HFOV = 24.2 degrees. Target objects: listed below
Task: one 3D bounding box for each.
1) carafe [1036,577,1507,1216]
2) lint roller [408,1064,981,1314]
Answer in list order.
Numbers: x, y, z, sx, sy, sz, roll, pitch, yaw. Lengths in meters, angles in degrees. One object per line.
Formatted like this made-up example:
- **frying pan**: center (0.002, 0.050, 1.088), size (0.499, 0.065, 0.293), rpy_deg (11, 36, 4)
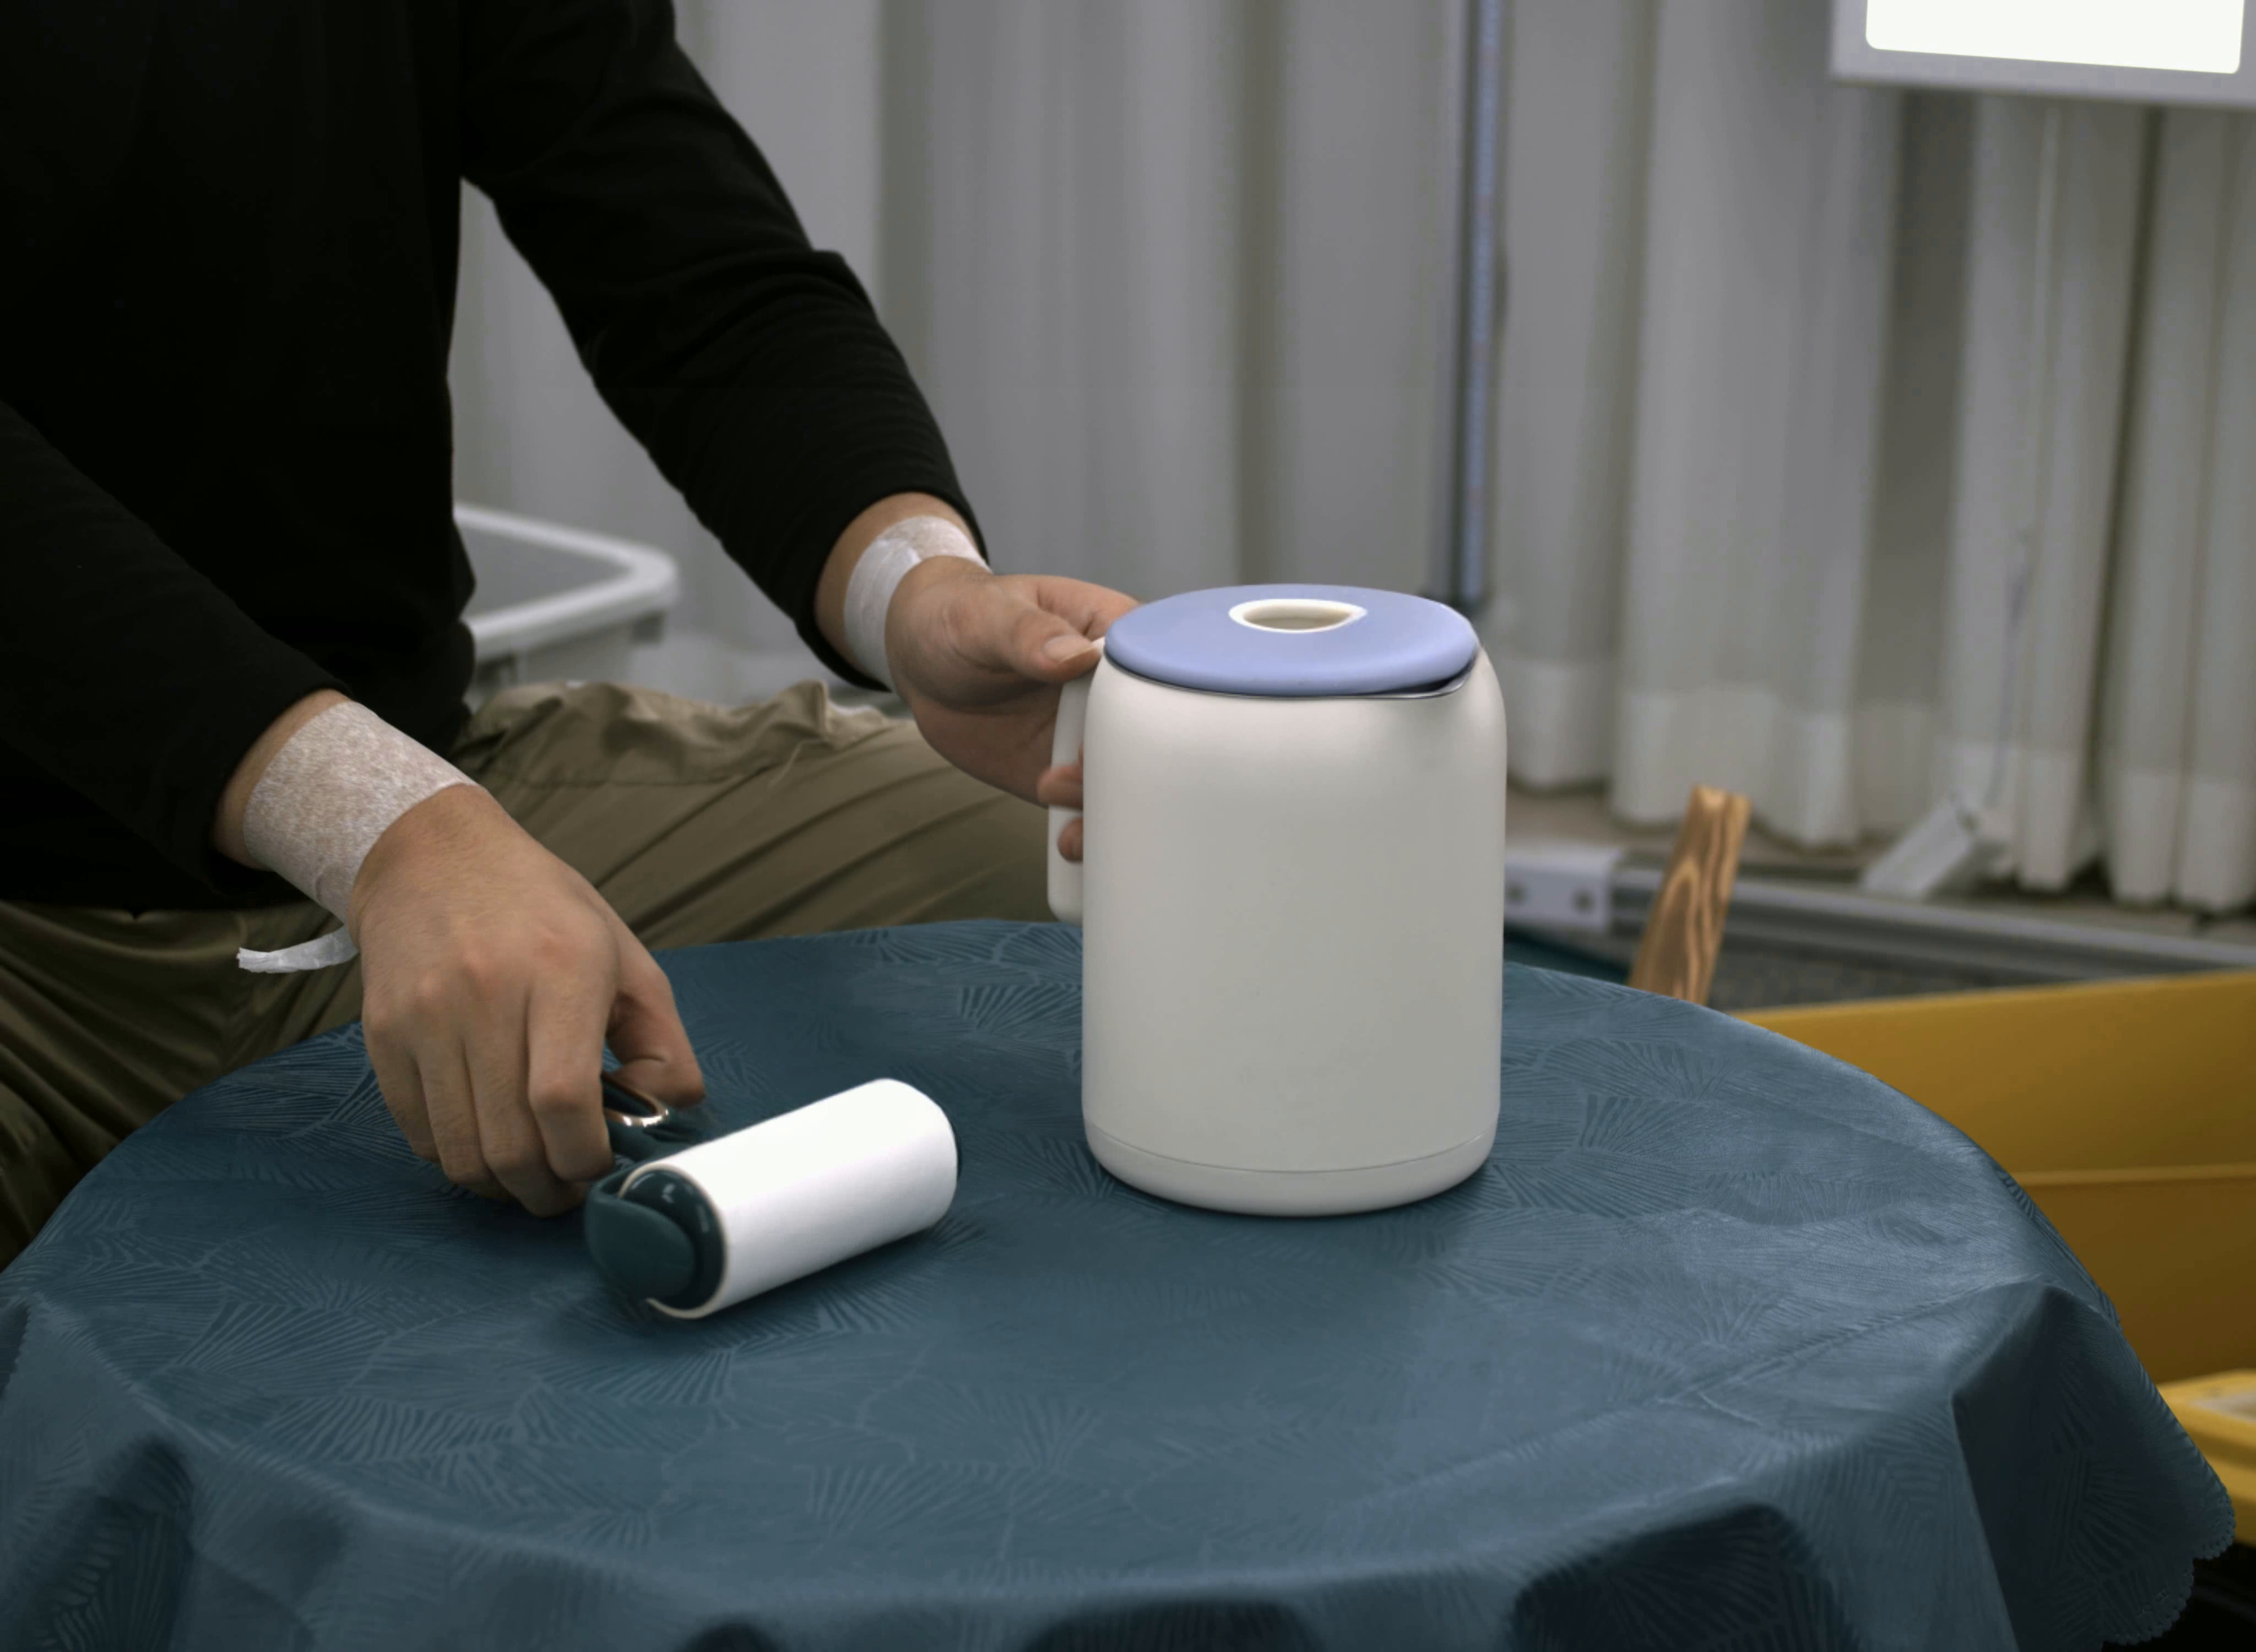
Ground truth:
- **carafe**: center (0.036, 0.016, 1.647), size (0.133, 0.184, 0.188), rpy_deg (-12, 18, -38)
- **lint roller**: center (-0.151, 0.086, 1.578), size (0.177, 0.049, 0.135), rpy_deg (24, 26, 36)
